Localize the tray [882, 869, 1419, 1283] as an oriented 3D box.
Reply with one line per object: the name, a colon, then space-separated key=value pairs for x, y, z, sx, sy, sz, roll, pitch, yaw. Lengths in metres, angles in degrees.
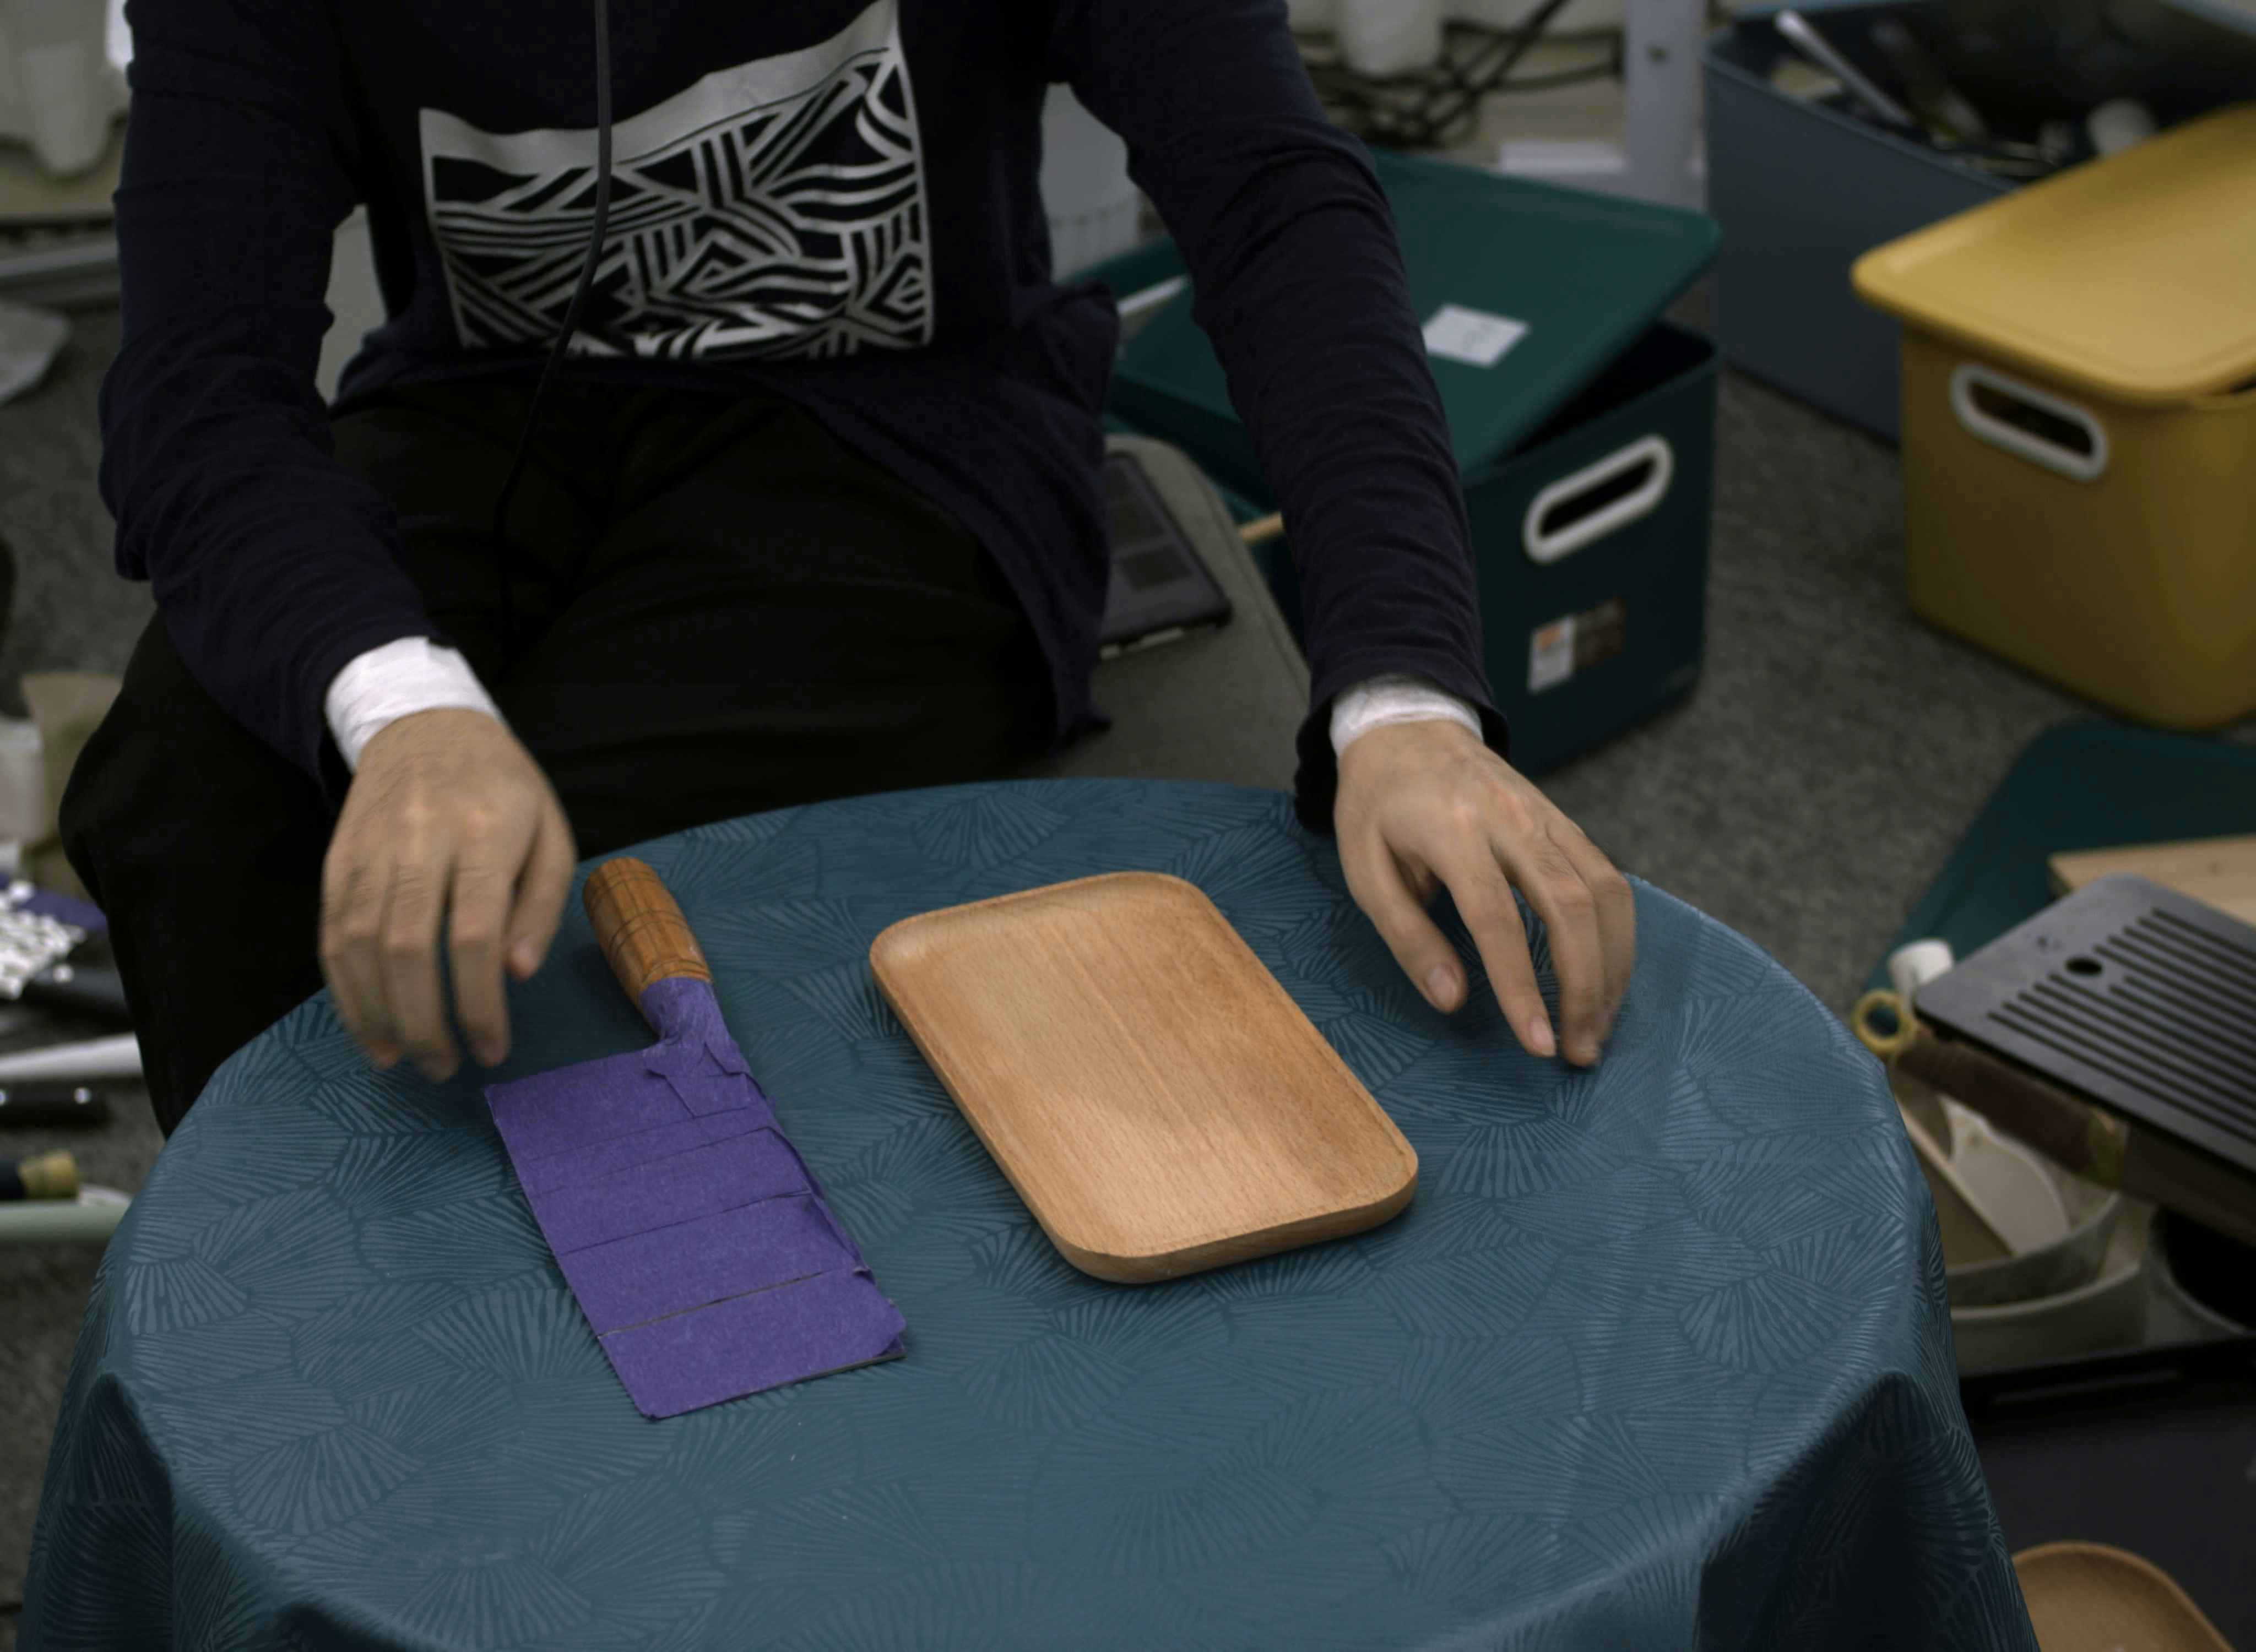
tray: x=0.004 y=0.083 z=1.919 sx=0.130 sy=0.022 sz=0.253 roll=-8 pitch=27 yaw=-15

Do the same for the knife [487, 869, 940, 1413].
knife: x=-0.161 y=0.101 z=1.888 sx=0.104 sy=0.032 sz=0.318 roll=-12 pitch=29 yaw=-17
